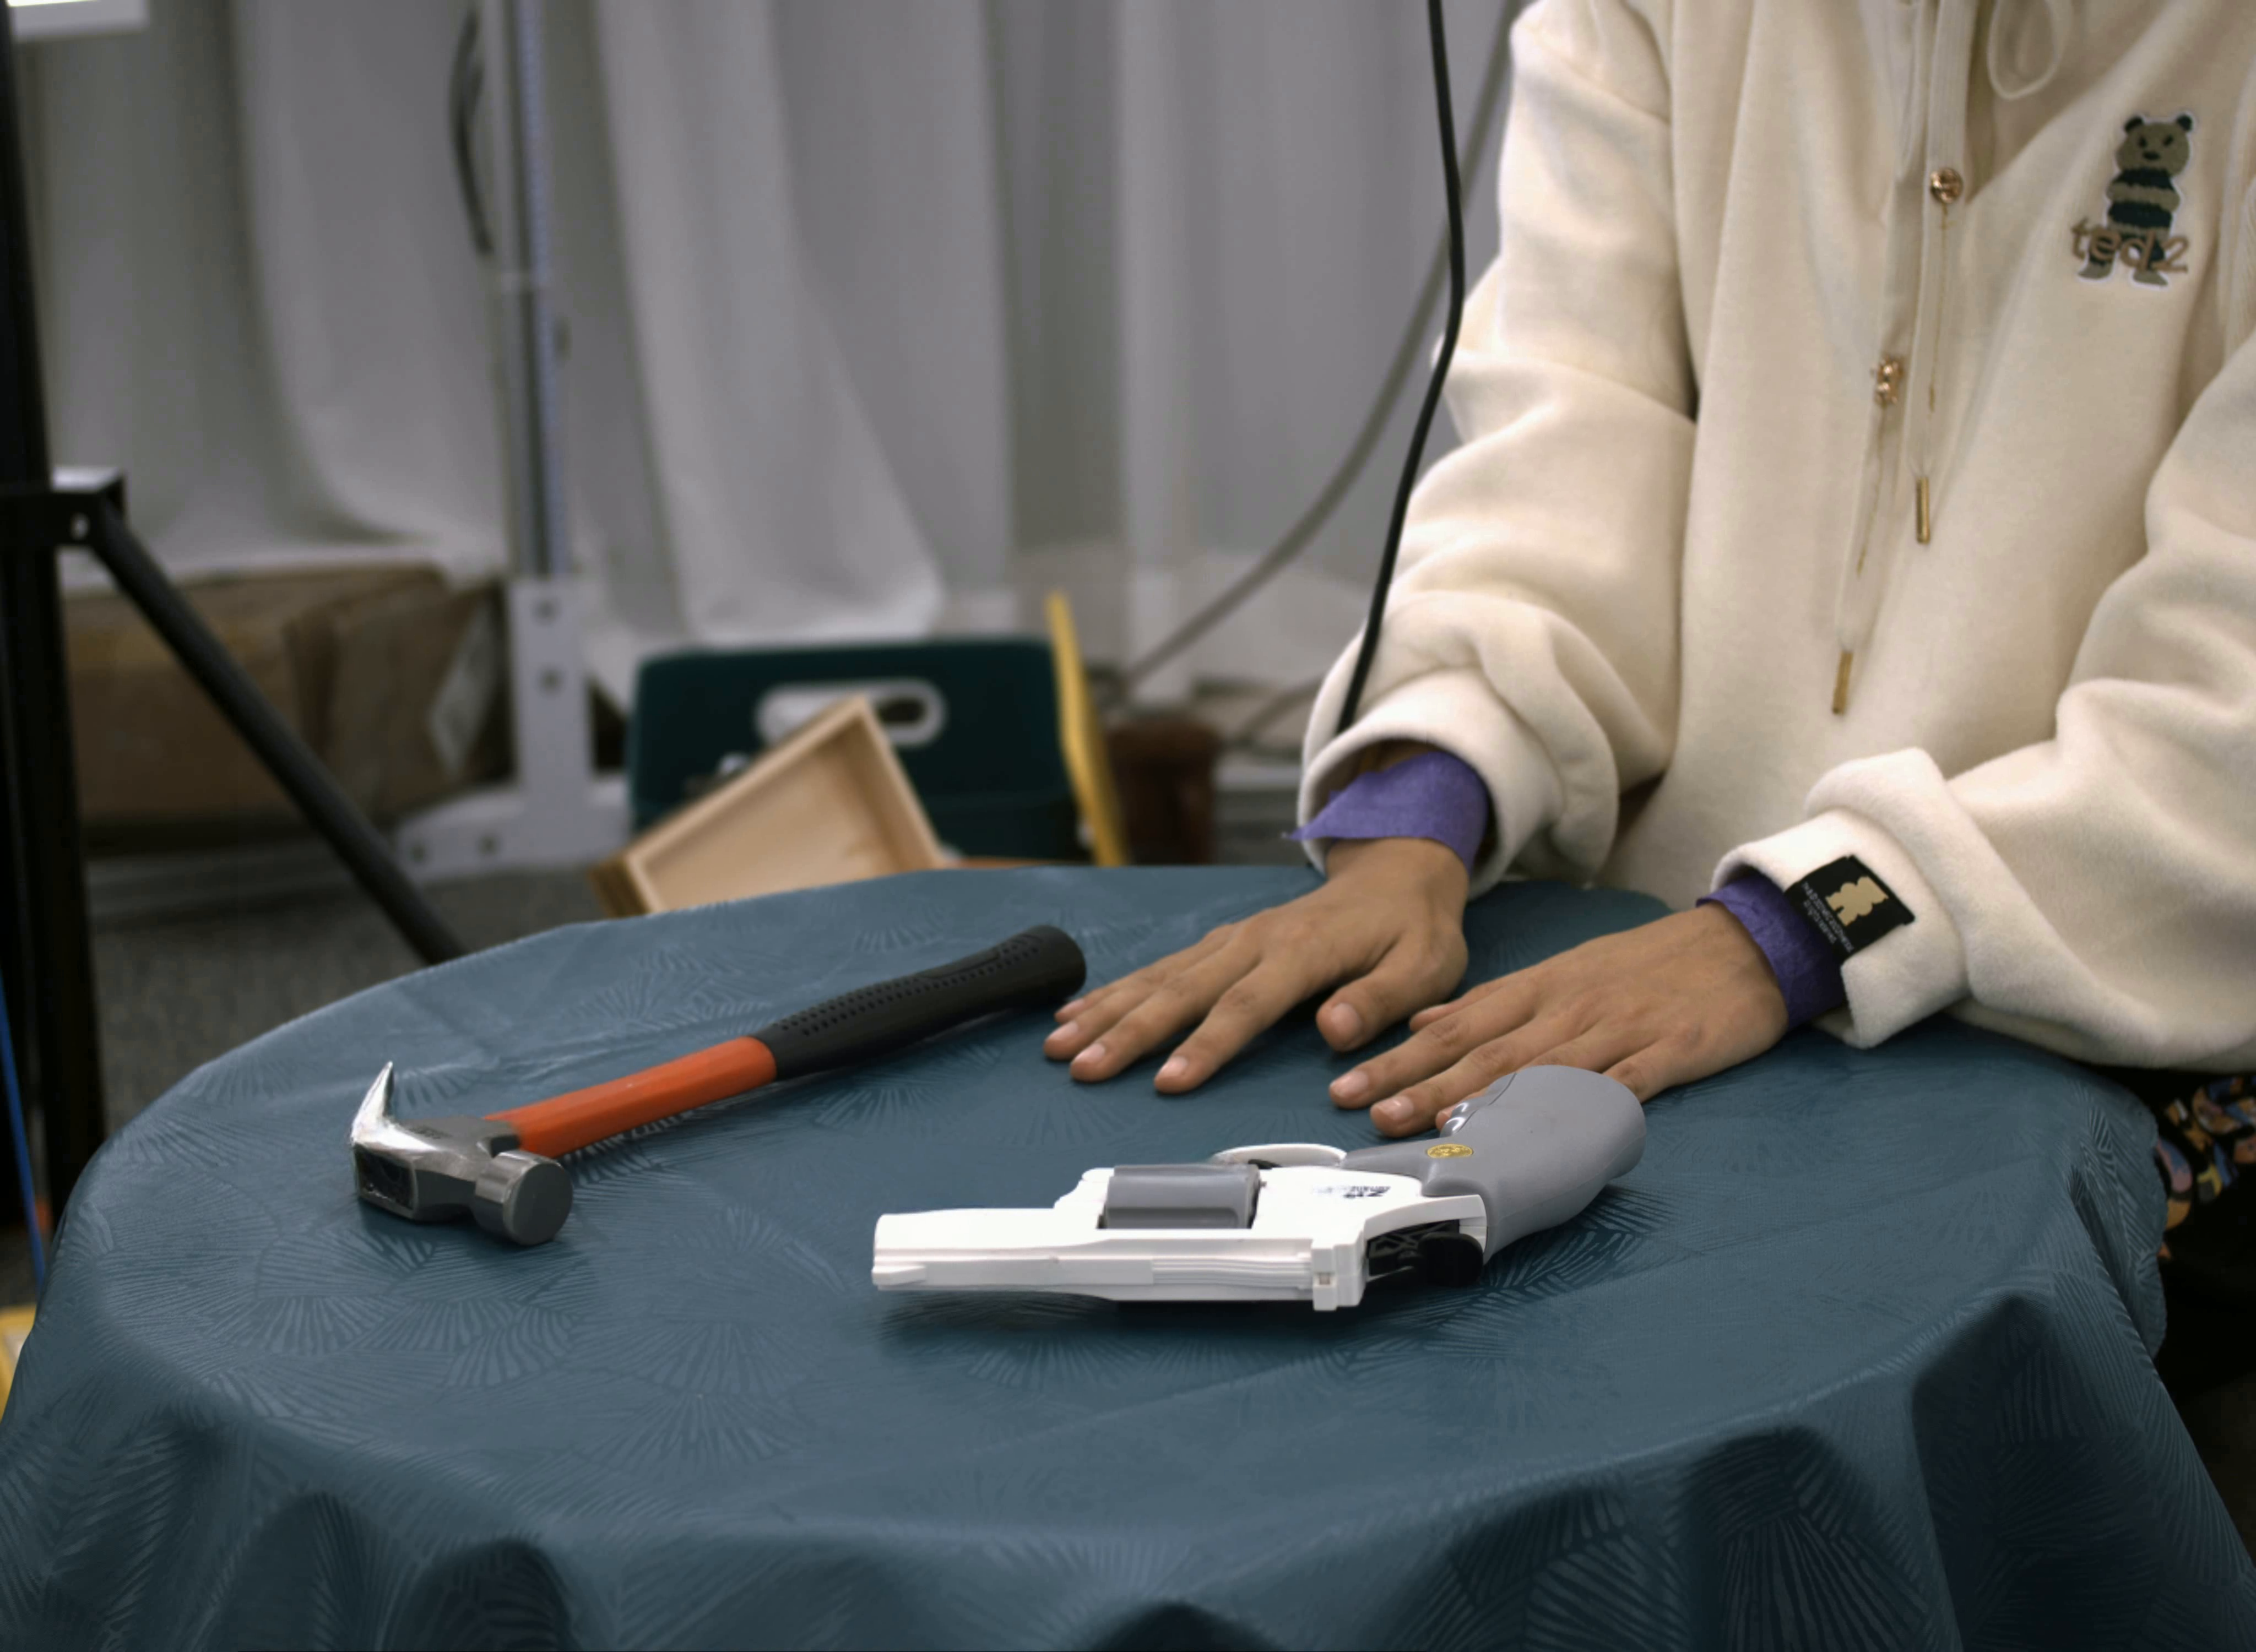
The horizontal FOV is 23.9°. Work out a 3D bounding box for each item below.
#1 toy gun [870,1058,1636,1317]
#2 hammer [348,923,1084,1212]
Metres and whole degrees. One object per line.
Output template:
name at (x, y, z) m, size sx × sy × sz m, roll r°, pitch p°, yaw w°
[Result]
toy gun at (0.038, 0.103, 1.495) m, size 0.209 × 0.039 × 0.141 m, roll -1°, pitch 17°, yaw 8°
hammer at (-0.121, 0.072, 1.655) m, size 0.271 × 0.026 × 0.113 m, roll -16°, pitch 12°, yaw -41°
